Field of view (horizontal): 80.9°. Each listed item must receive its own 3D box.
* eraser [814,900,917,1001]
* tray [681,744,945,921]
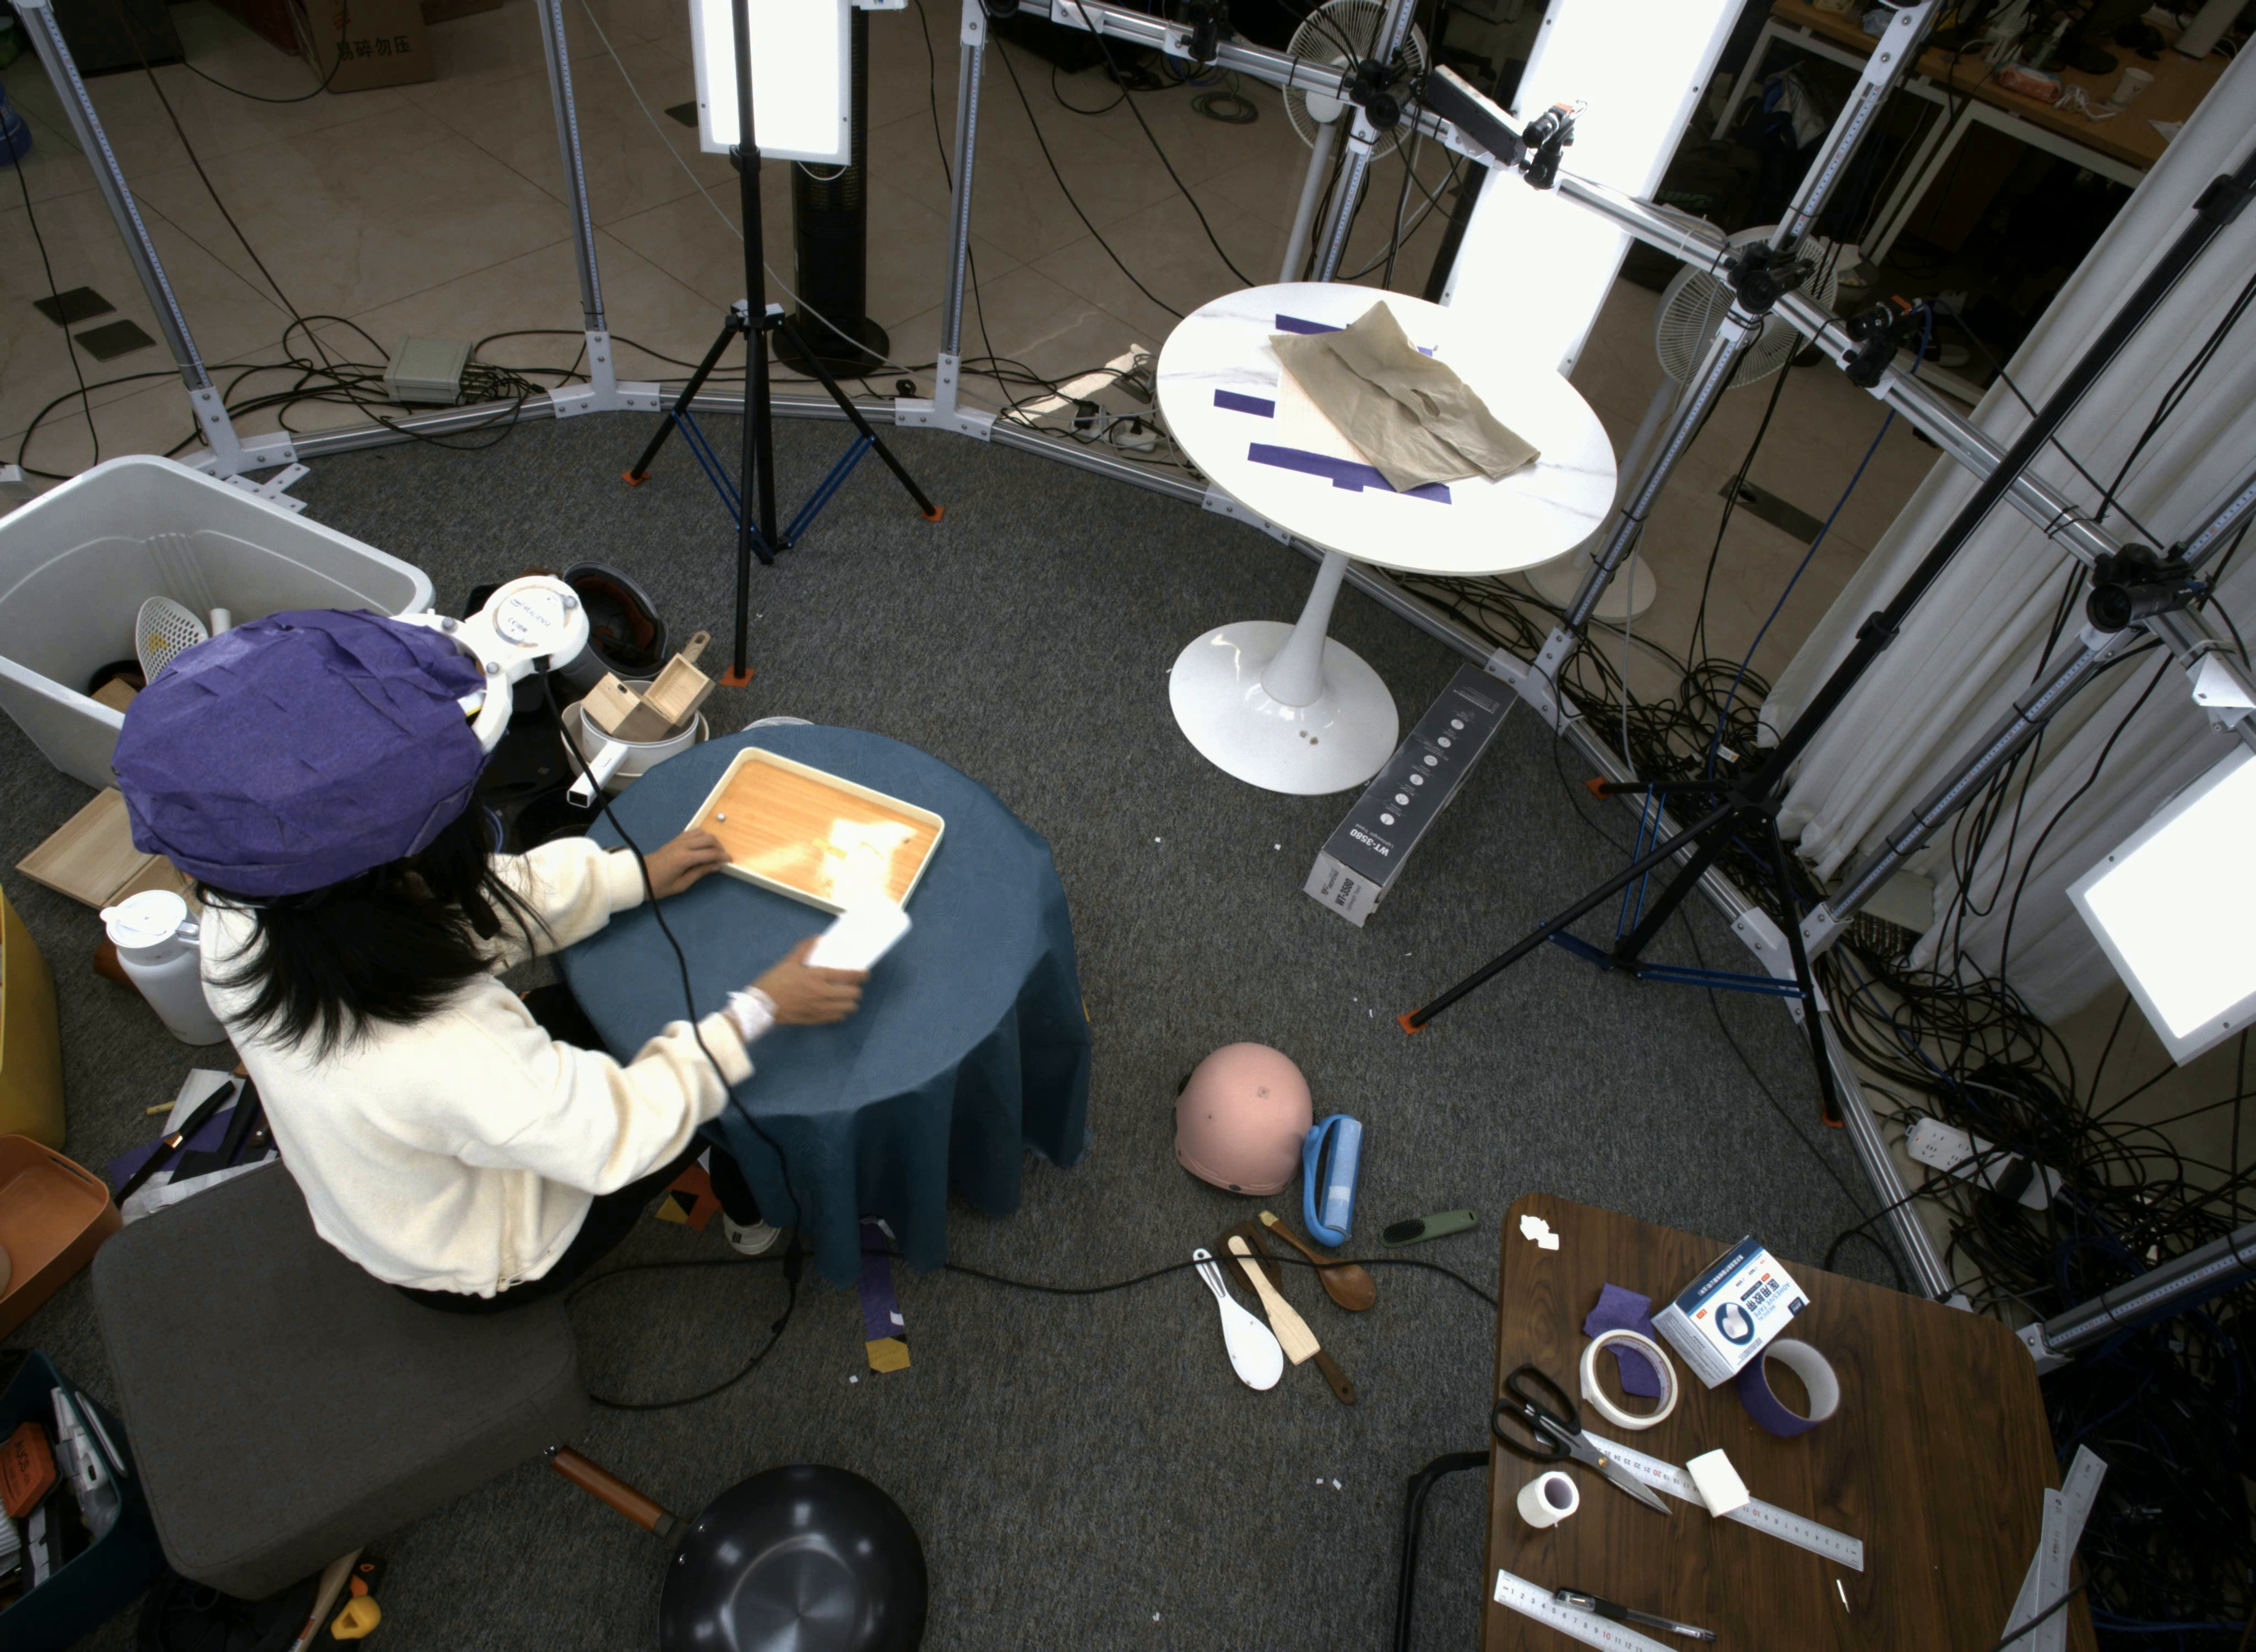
[{"bbox_3d":[-0.316,0.146,1.560,0.063,0.035,0.131,44,62,3],"label":"eraser"},{"bbox_3d":[-0.409,0.009,1.699,0.297,0.028,0.190,21,51,1],"label":"tray"}]
